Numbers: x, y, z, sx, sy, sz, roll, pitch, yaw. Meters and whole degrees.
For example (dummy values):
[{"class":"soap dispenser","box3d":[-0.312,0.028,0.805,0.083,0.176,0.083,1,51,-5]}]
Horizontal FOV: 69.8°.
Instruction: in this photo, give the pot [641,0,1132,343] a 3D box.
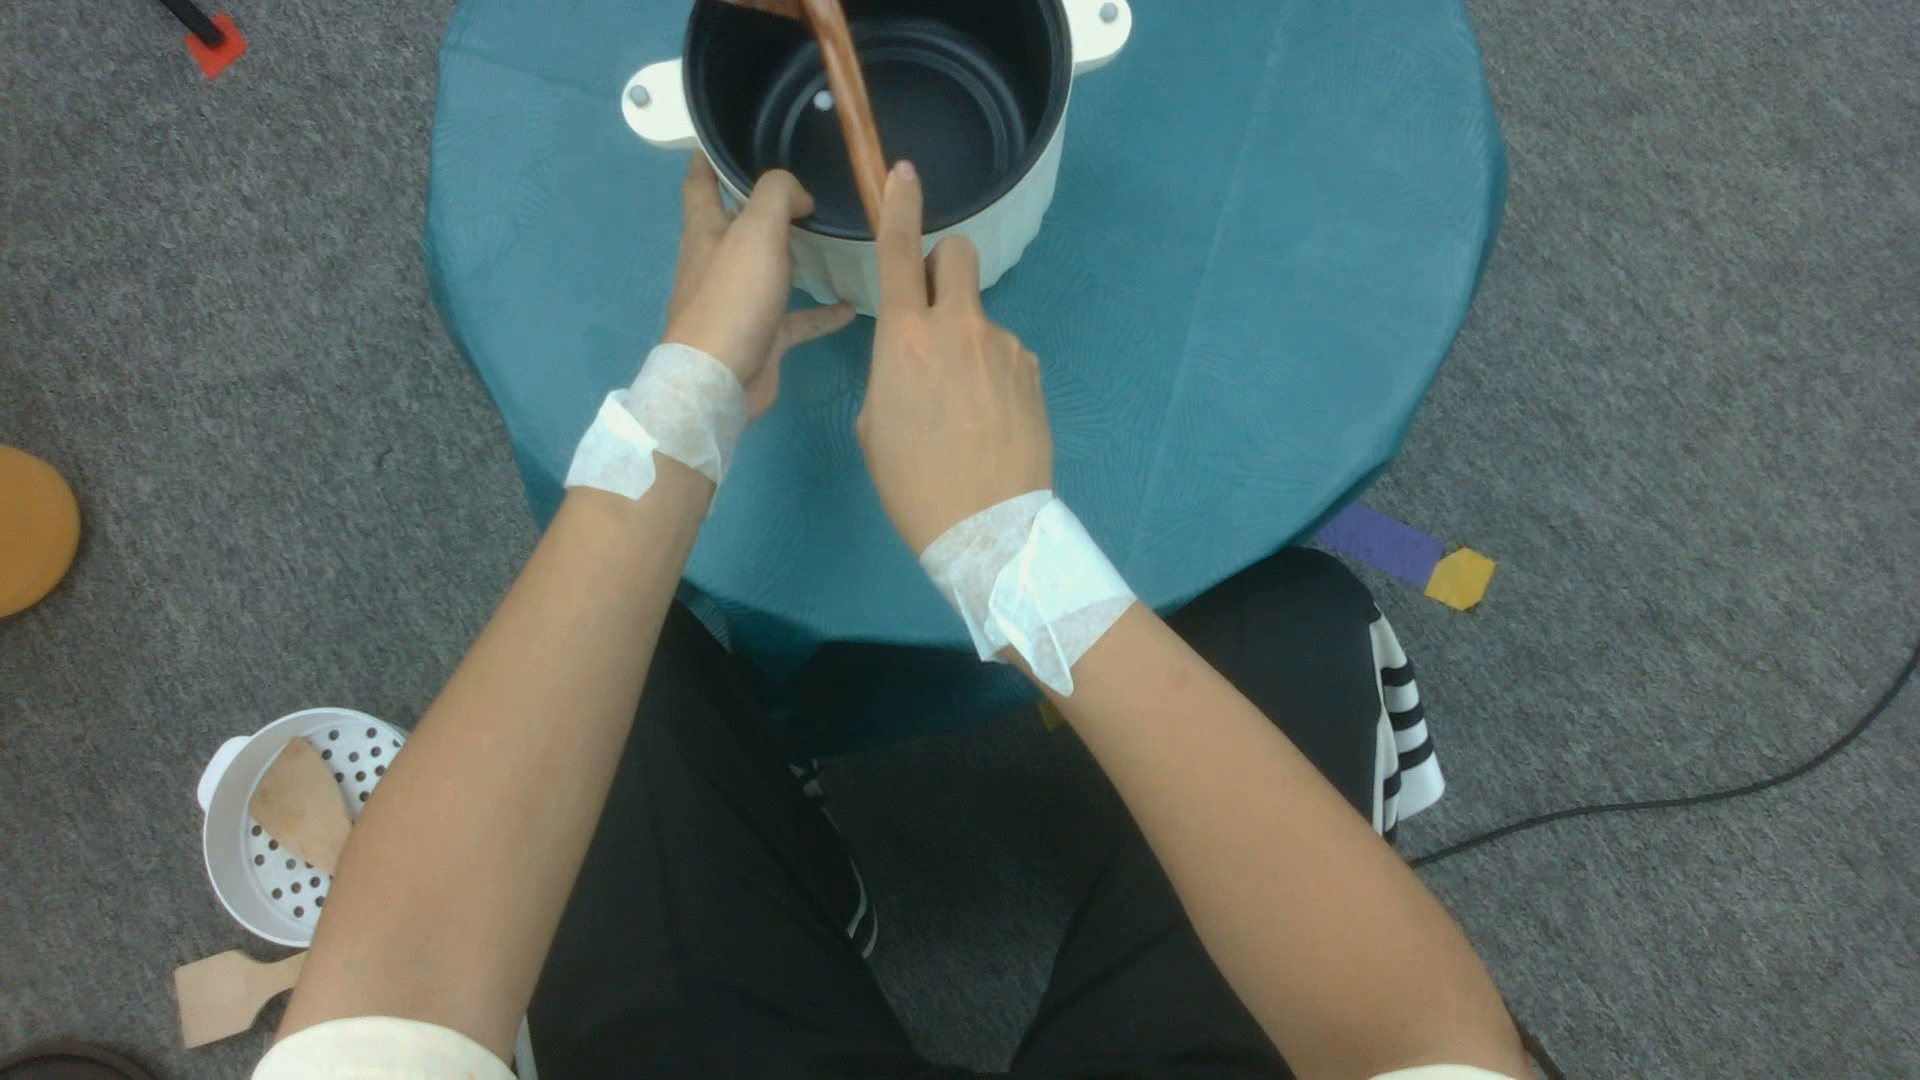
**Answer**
[{"class":"pot","box3d":[-0.035,-0.213,0.719,0.240,0.142,0.191,-12,80,-2]}]

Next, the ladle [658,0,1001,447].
[{"class":"ladle","box3d":[-0.067,-0.156,0.609,0.076,0.082,0.274,-22,83,6]}]
